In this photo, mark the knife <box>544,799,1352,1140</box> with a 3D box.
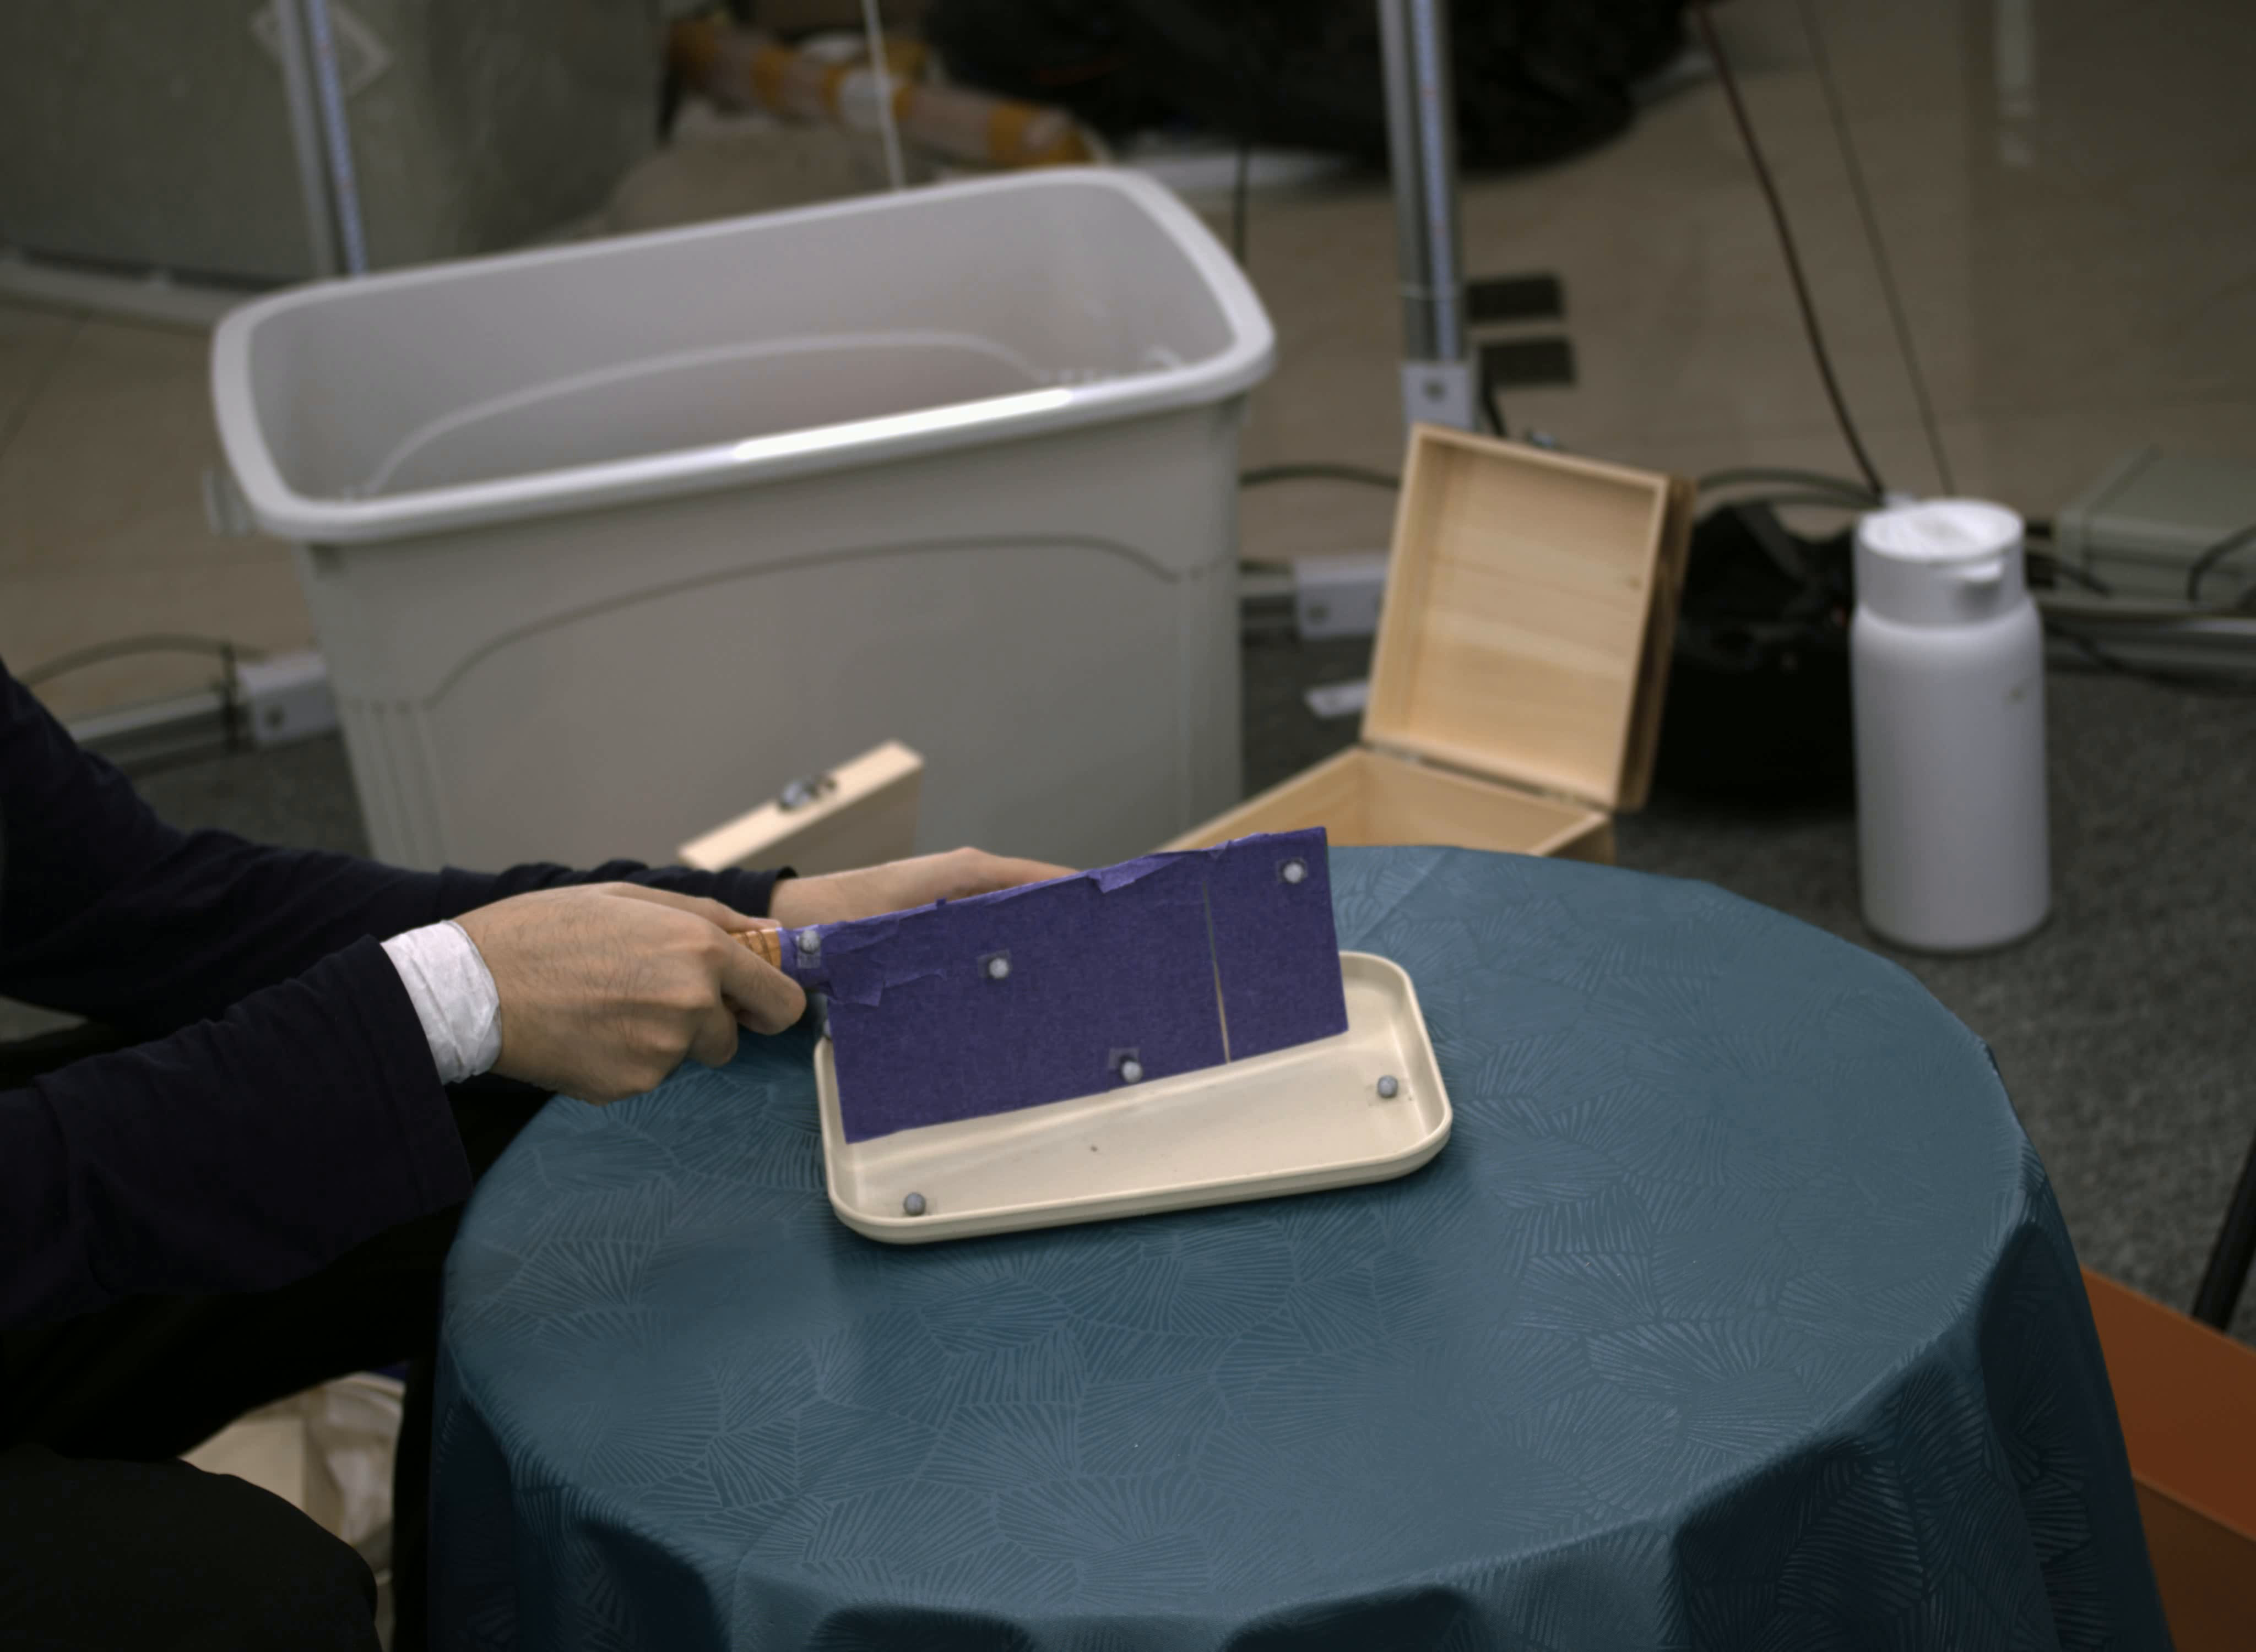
[{"bbox_3d":[-0.063,0.069,2.164,0.314,0.105,0.032,-12,21,-13],"label":"knife"}]

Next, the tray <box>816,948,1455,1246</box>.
[{"bbox_3d":[0.001,0.106,2.195,0.239,0.018,0.168,-7,28,-2],"label":"tray"}]
